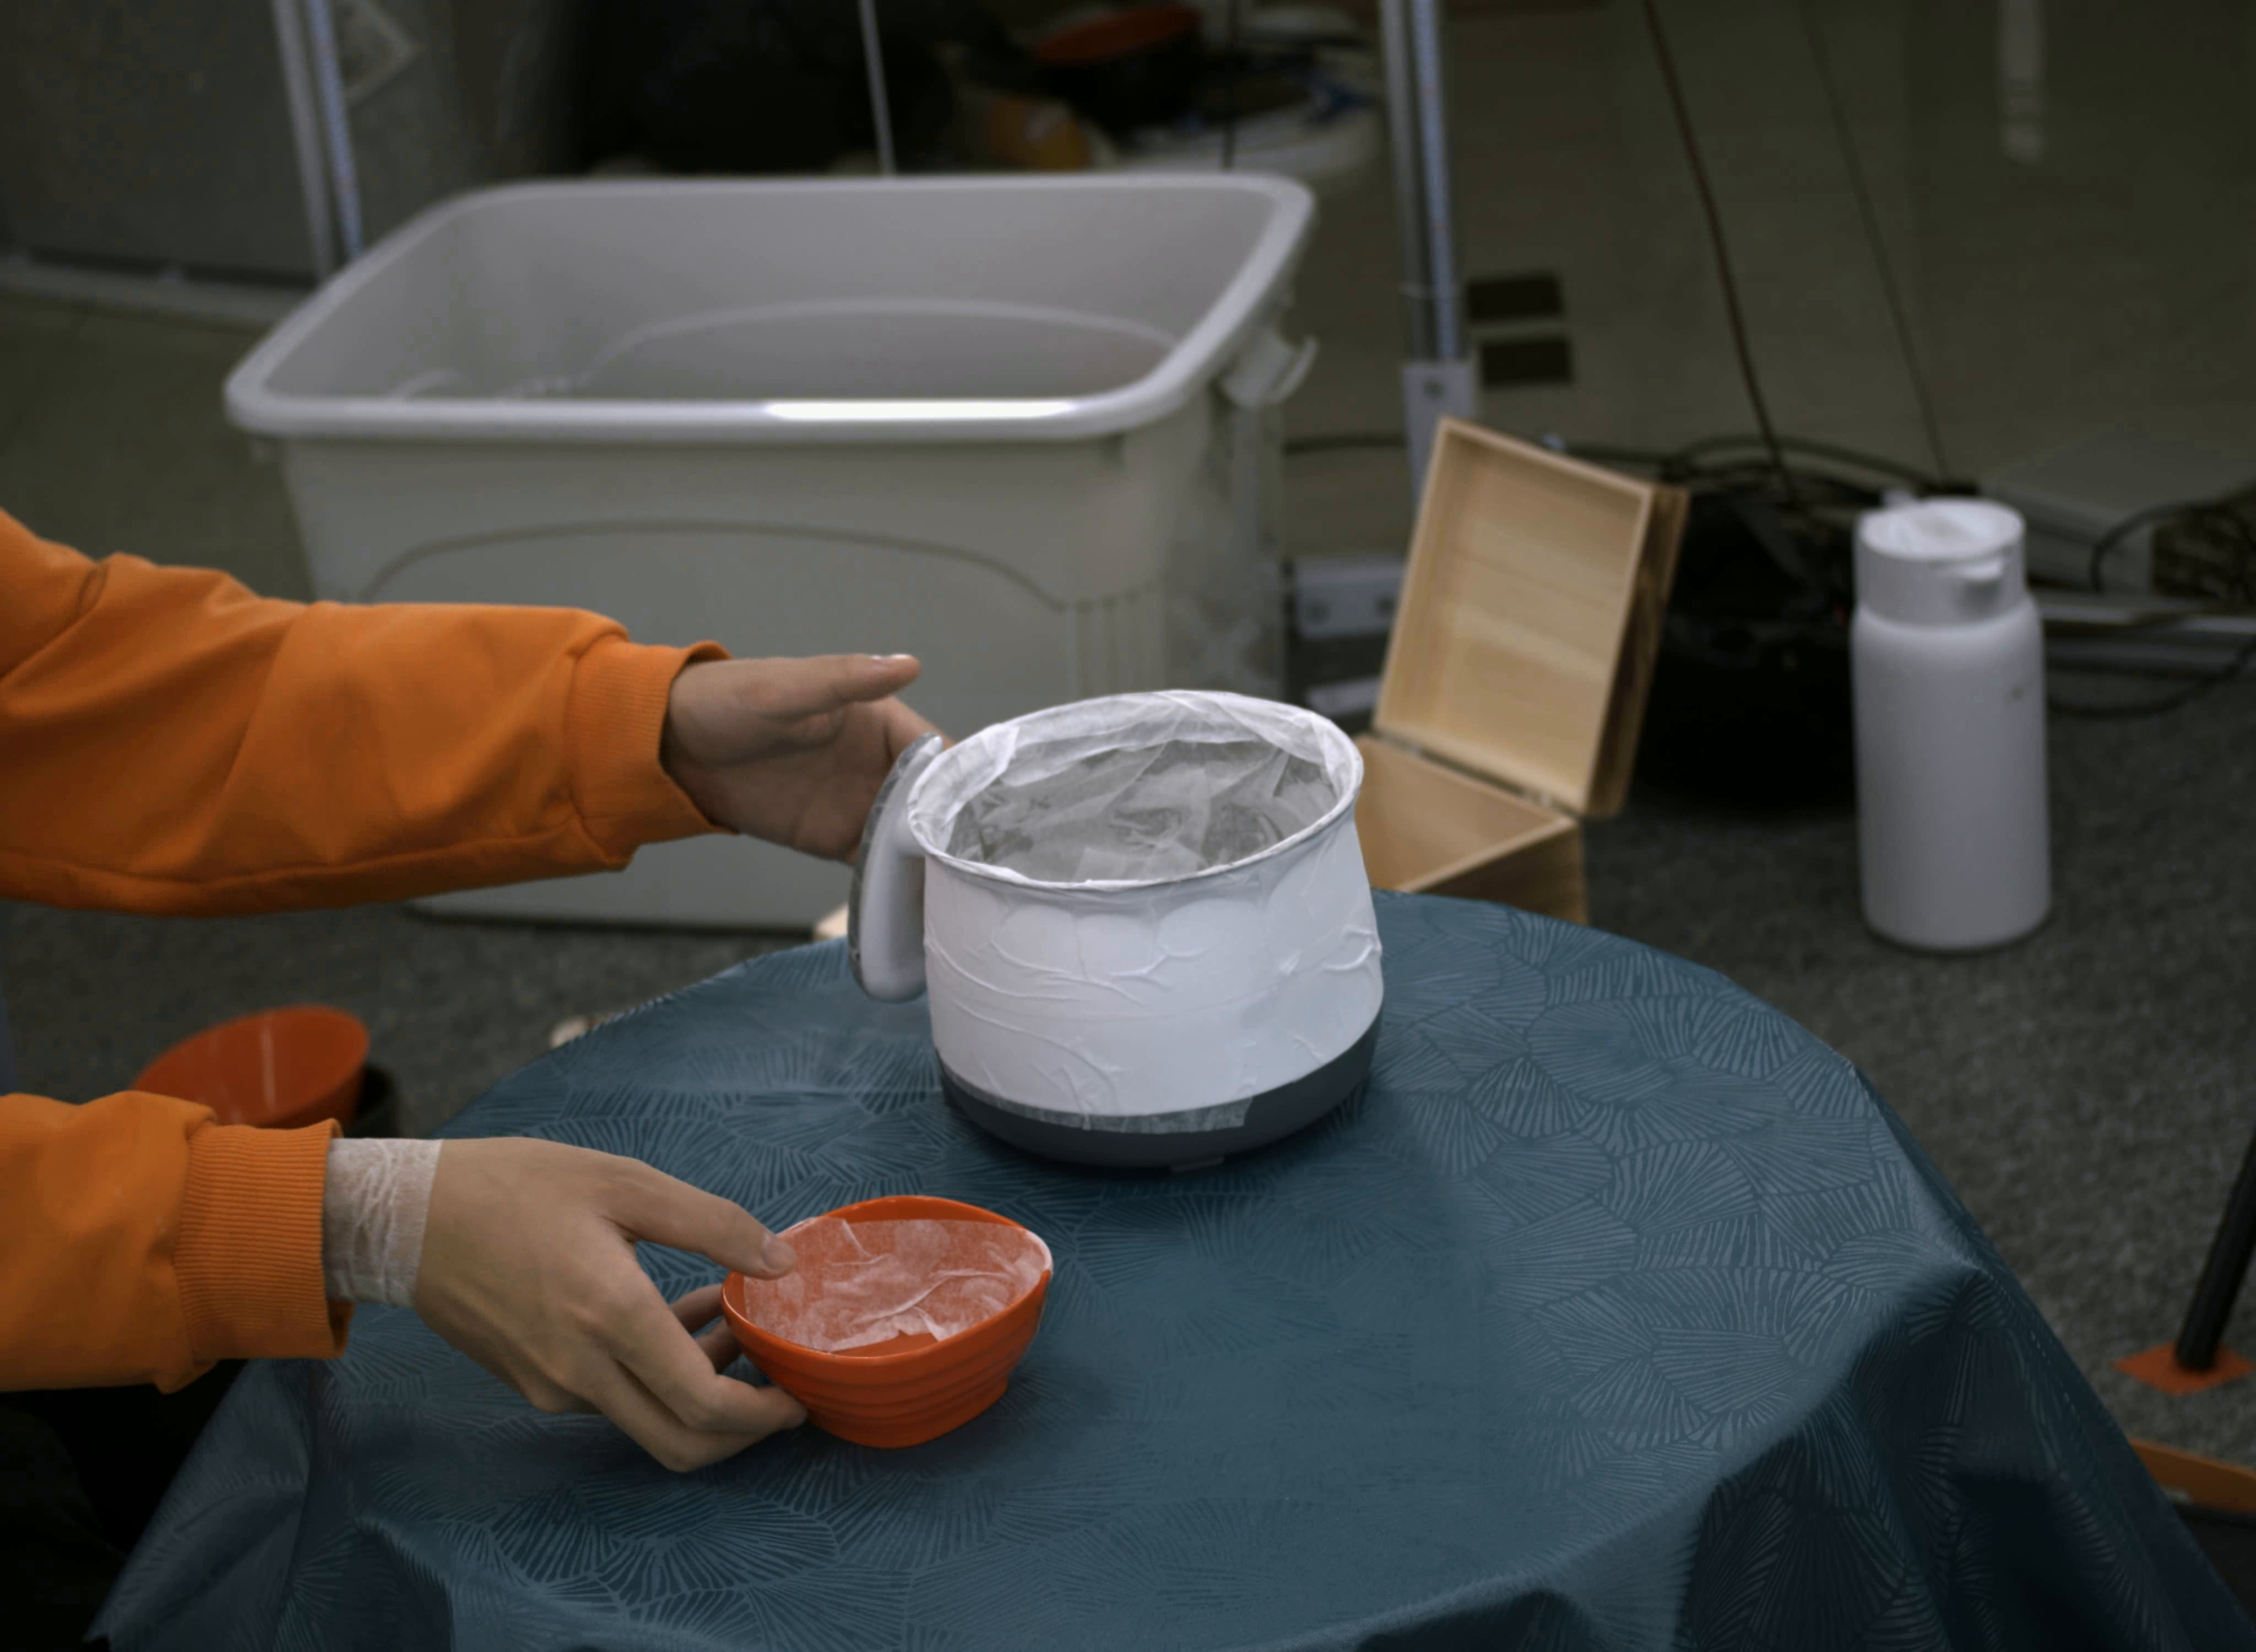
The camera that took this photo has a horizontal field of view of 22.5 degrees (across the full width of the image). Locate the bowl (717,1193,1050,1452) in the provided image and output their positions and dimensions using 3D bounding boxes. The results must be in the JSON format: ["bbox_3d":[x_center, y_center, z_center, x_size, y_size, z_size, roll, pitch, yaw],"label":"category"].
[{"bbox_3d":[-0.084,0.181,2.017,0.119,0.052,0.117,-5,26,3],"label":"bowl"}]

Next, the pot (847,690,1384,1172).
[{"bbox_3d":[-0.015,0.037,2.203,0.232,0.139,0.177,11,30,32],"label":"pot"}]
